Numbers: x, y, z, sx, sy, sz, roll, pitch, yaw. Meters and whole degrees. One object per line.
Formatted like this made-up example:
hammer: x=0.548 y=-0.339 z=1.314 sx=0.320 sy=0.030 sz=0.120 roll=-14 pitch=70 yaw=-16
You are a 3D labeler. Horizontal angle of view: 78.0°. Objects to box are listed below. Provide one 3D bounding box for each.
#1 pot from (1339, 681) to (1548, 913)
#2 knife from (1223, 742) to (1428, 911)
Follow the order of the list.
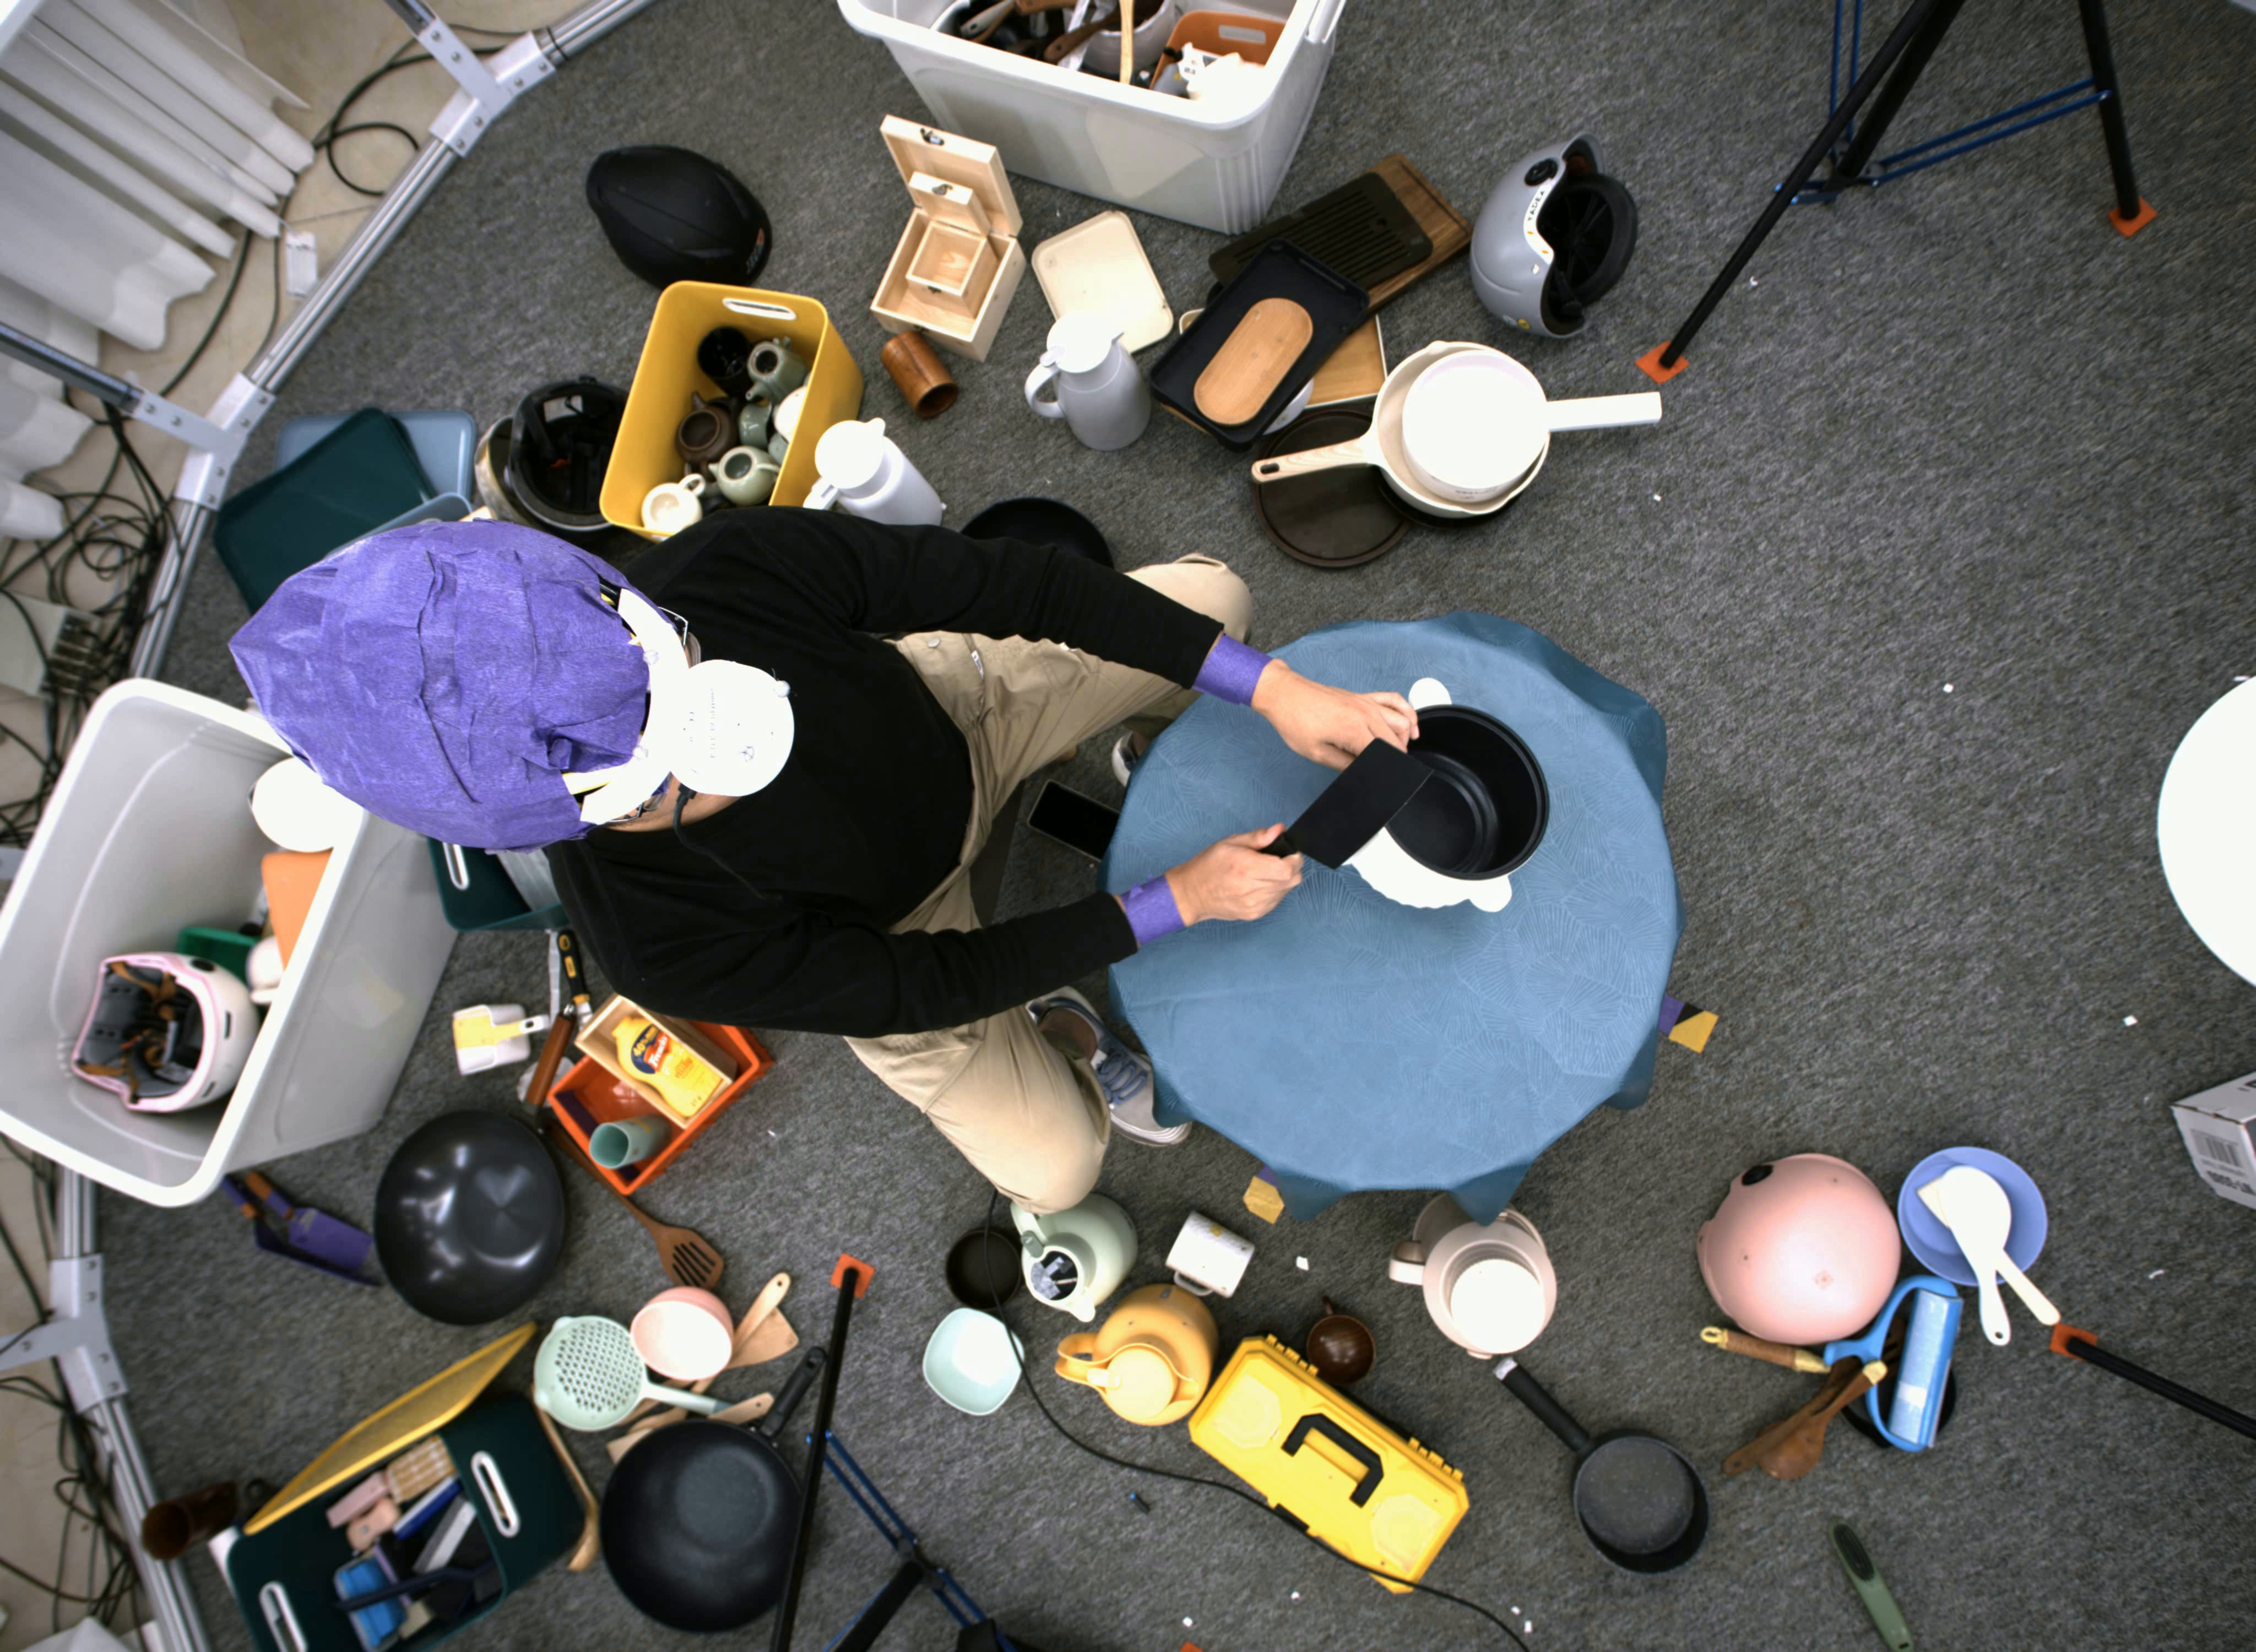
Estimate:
pot: x=0.310 y=-0.014 z=1.371 sx=0.190 sy=0.145 sz=0.237 roll=-11 pitch=76 yaw=-10
knife: x=0.178 y=0.010 z=1.324 sx=0.081 sy=0.309 sz=0.020 roll=31 pitch=52 yaw=-12
